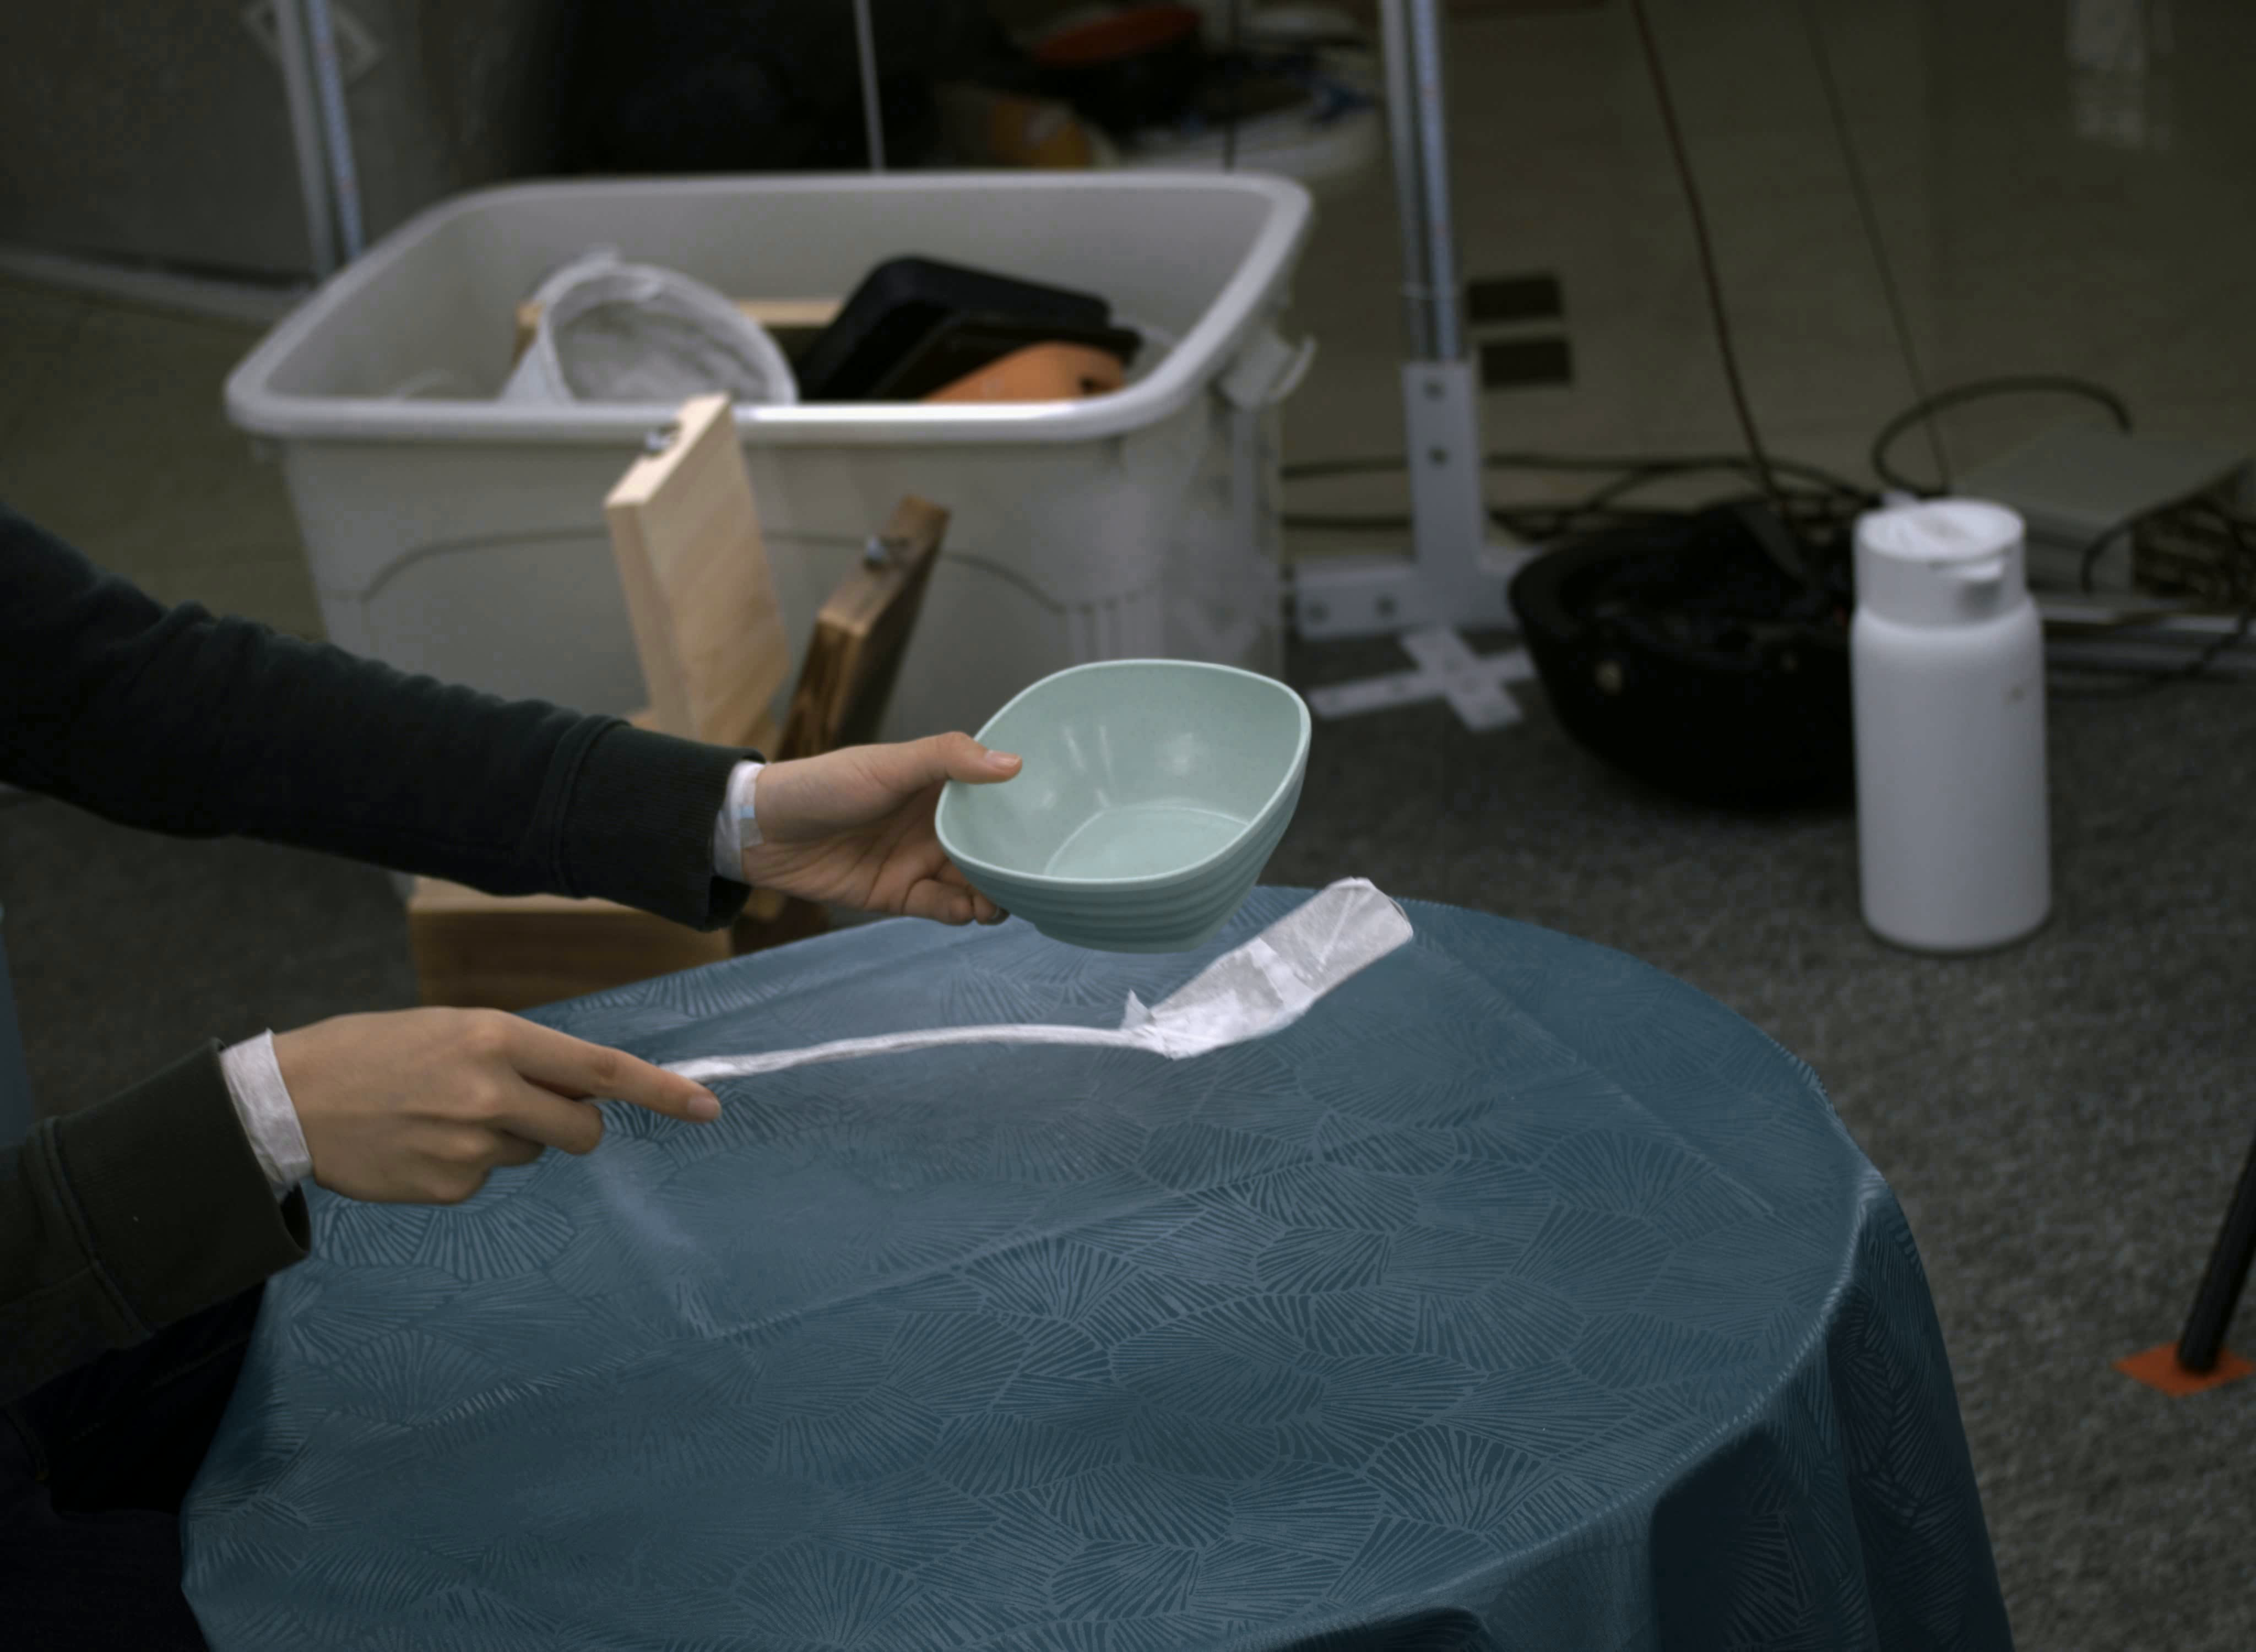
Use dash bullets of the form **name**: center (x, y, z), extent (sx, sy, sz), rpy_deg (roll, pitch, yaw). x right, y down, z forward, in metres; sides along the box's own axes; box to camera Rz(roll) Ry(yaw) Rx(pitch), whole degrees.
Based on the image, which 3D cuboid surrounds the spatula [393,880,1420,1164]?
- **spatula**: center (-0.077, 0.074, 1.966), extent (0.364, 0.045, 0.097), rpy_deg (-8, 17, -5)

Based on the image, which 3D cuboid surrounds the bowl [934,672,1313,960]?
- **bowl**: center (0.003, 0.003, 2.180), extent (0.151, 0.060, 0.149), rpy_deg (-8, 35, 6)
